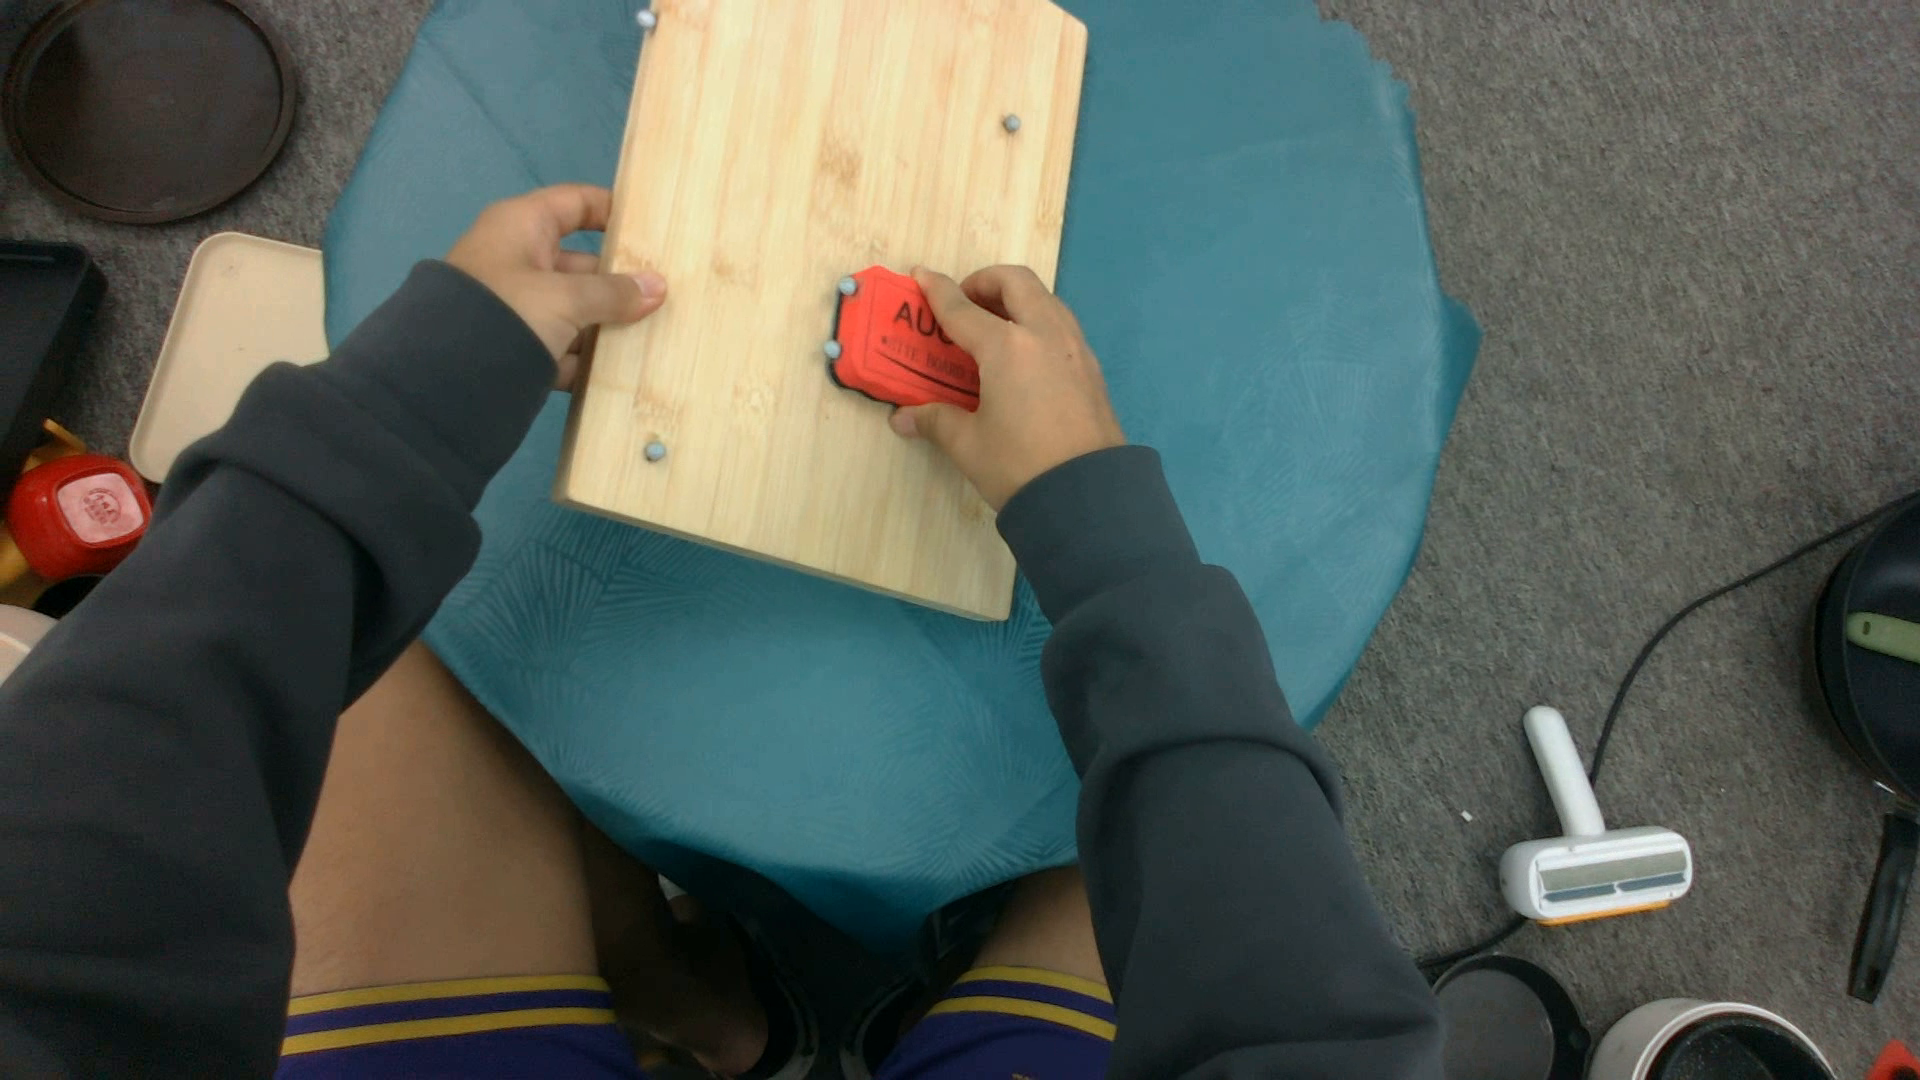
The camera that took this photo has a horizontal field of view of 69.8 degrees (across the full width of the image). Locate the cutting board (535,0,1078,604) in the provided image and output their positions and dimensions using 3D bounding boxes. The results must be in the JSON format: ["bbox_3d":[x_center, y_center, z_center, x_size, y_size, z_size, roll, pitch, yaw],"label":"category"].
[{"bbox_3d":[-0.055,-0.162,0.672,0.251,0.023,0.349,17,75,-38],"label":"cutting board"}]

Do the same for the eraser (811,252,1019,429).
[{"bbox_3d":[-0.020,-0.095,0.667,0.108,0.023,0.059,16,74,-37],"label":"eraser"}]
